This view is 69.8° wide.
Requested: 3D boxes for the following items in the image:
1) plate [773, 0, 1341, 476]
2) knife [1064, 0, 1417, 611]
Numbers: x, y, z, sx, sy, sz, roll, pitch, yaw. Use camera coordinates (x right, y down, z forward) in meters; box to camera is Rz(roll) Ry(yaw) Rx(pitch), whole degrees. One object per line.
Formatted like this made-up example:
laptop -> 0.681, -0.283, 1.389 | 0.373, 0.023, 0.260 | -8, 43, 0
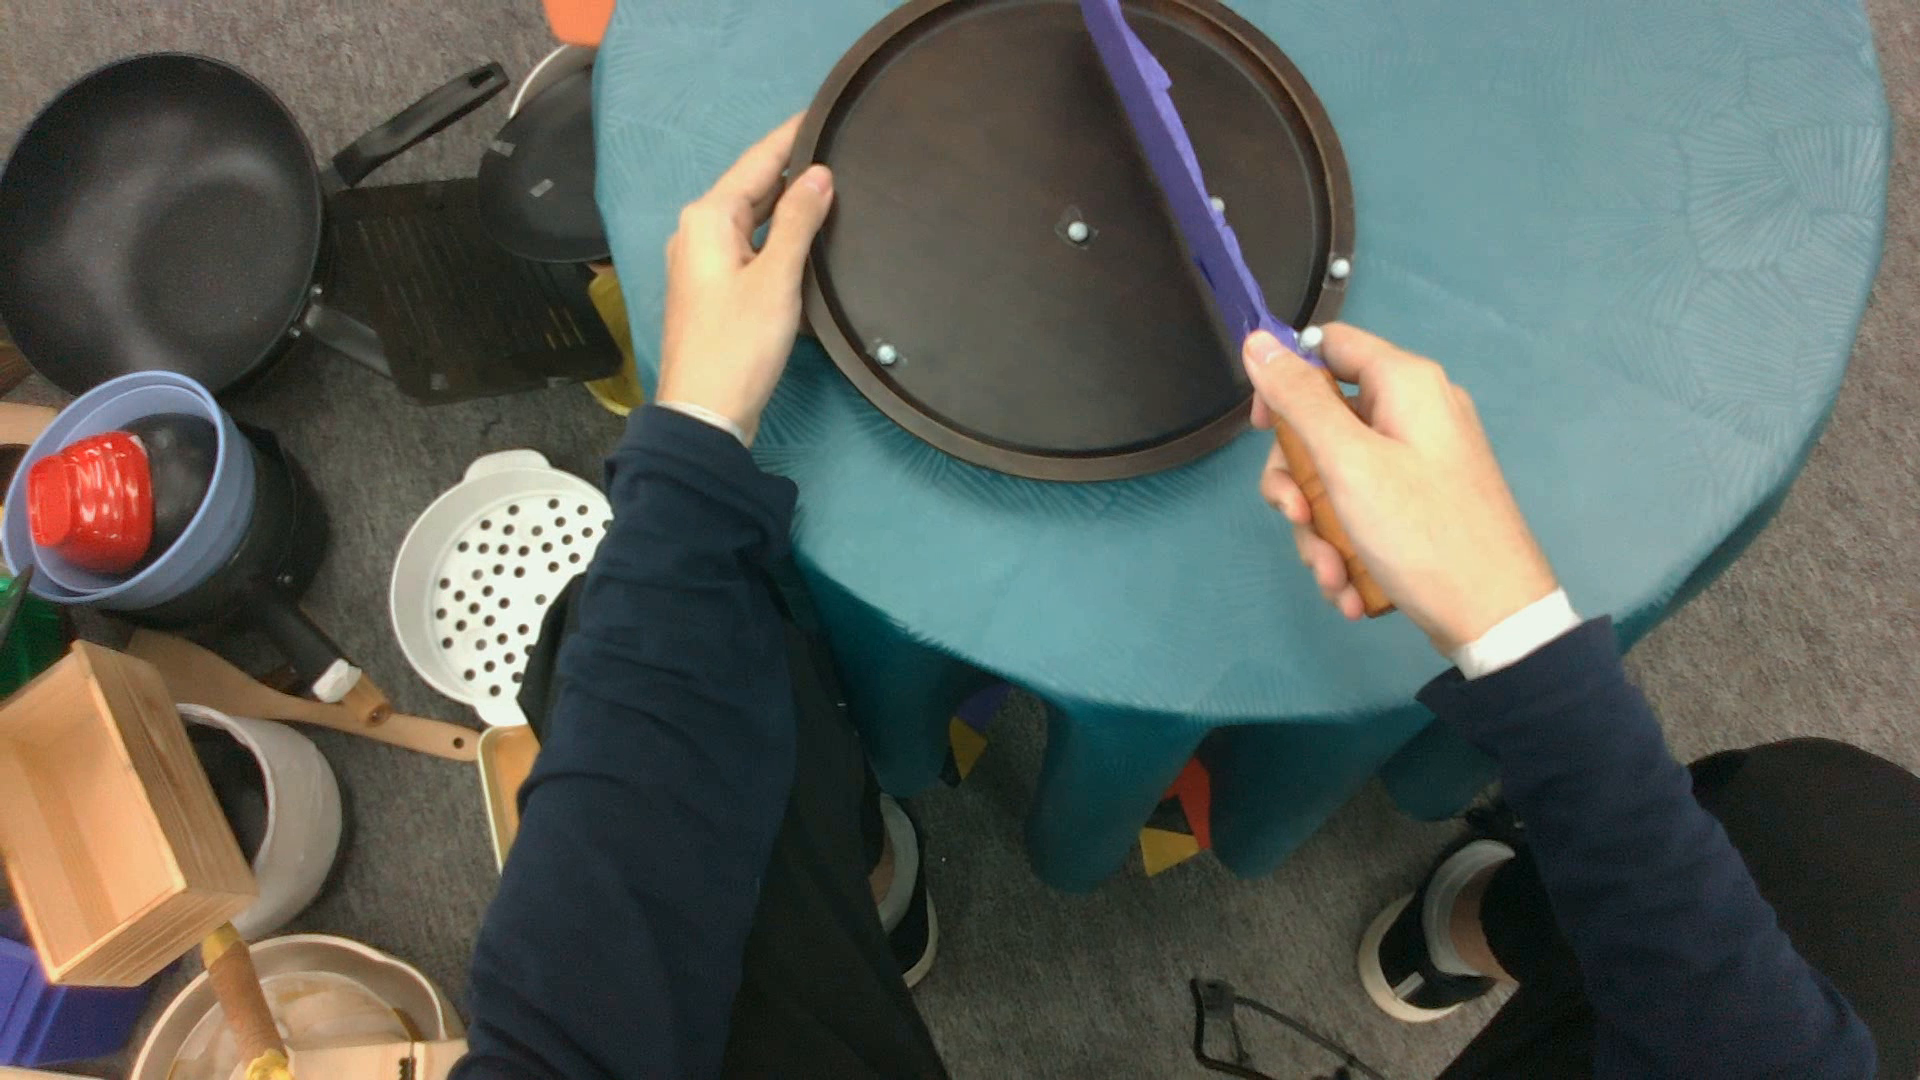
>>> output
plate -> 0.043, -0.148, 0.619 | 0.255, 0.029, 0.255 | 1, 74, -3
knife -> 0.101, -0.118, 0.551 | 0.032, 0.104, 0.315 | -22, 77, 6
